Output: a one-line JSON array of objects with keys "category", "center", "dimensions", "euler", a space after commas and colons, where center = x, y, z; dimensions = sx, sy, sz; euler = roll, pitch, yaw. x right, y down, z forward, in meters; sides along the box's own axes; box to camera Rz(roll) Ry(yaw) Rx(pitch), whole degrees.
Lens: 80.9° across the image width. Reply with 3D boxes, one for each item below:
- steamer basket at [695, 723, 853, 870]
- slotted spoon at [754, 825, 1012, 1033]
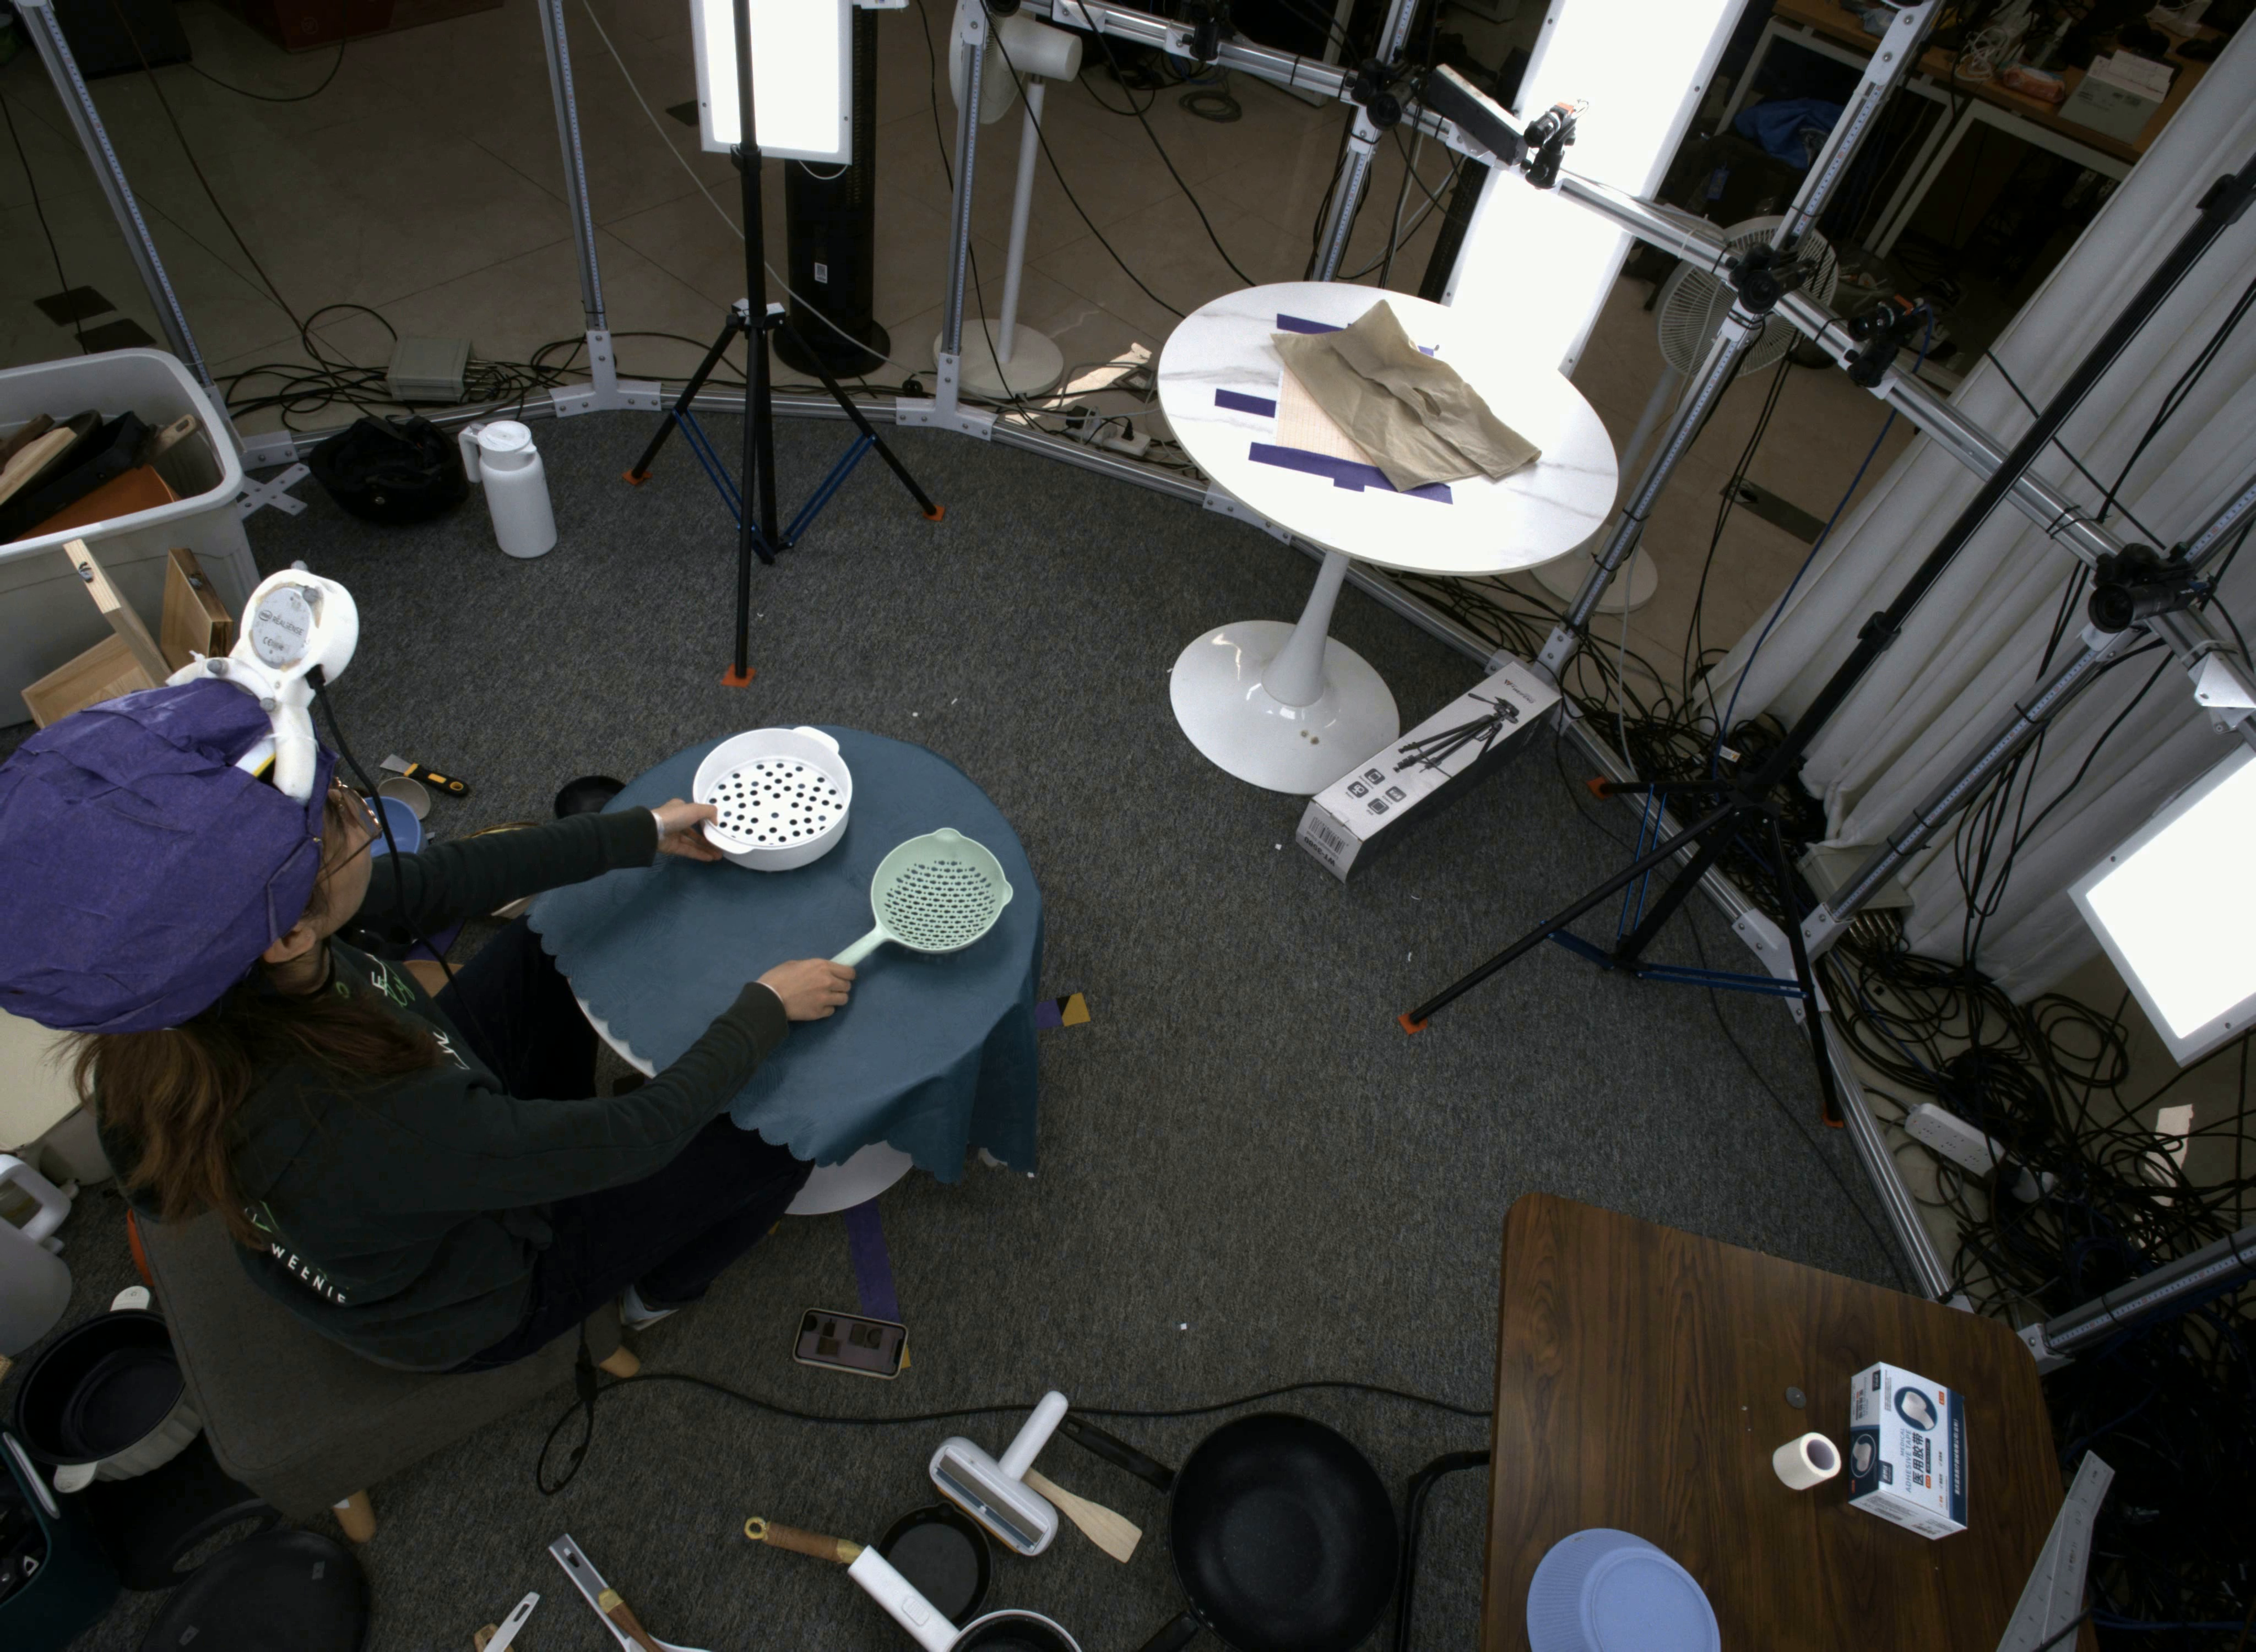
[{"category": "steamer basket", "center": [-0.463, -0.036, 1.705], "dimensions": [0.199, 0.071, 0.229], "euler": [25, 52, 6]}, {"category": "slotted spoon", "center": [-0.311, 0.137, 1.614], "dimensions": [0.360, 0.077, 0.165], "euler": [-33, 67, -32]}]
